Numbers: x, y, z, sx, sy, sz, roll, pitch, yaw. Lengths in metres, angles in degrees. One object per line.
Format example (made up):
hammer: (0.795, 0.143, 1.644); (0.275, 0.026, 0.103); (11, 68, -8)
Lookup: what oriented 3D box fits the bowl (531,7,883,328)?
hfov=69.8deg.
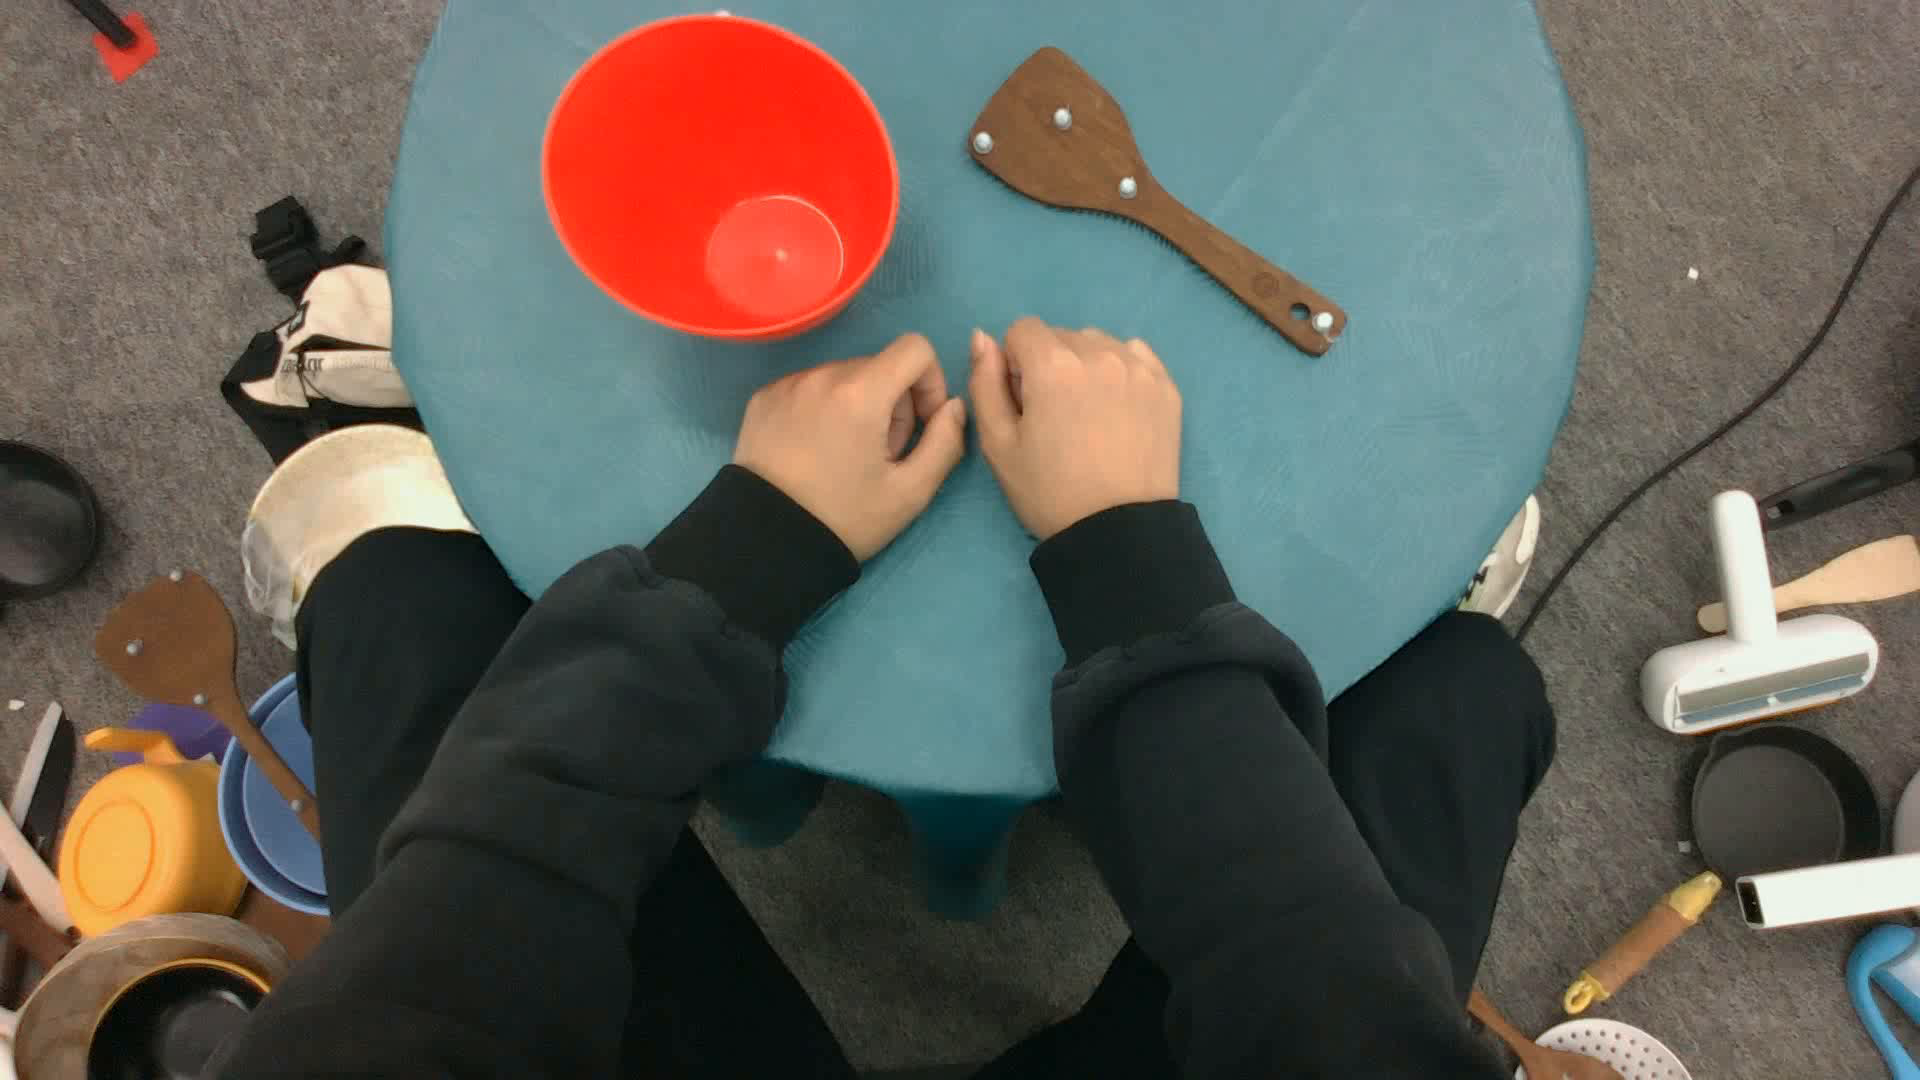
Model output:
bowl: (-0.108, -0.155, 0.633); (0.148, 0.104, 0.148); (0, 77, -1)

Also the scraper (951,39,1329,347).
scraper: (0.093, -0.166, 0.687); (0.211, 0.011, 0.076); (38, 80, 6)
